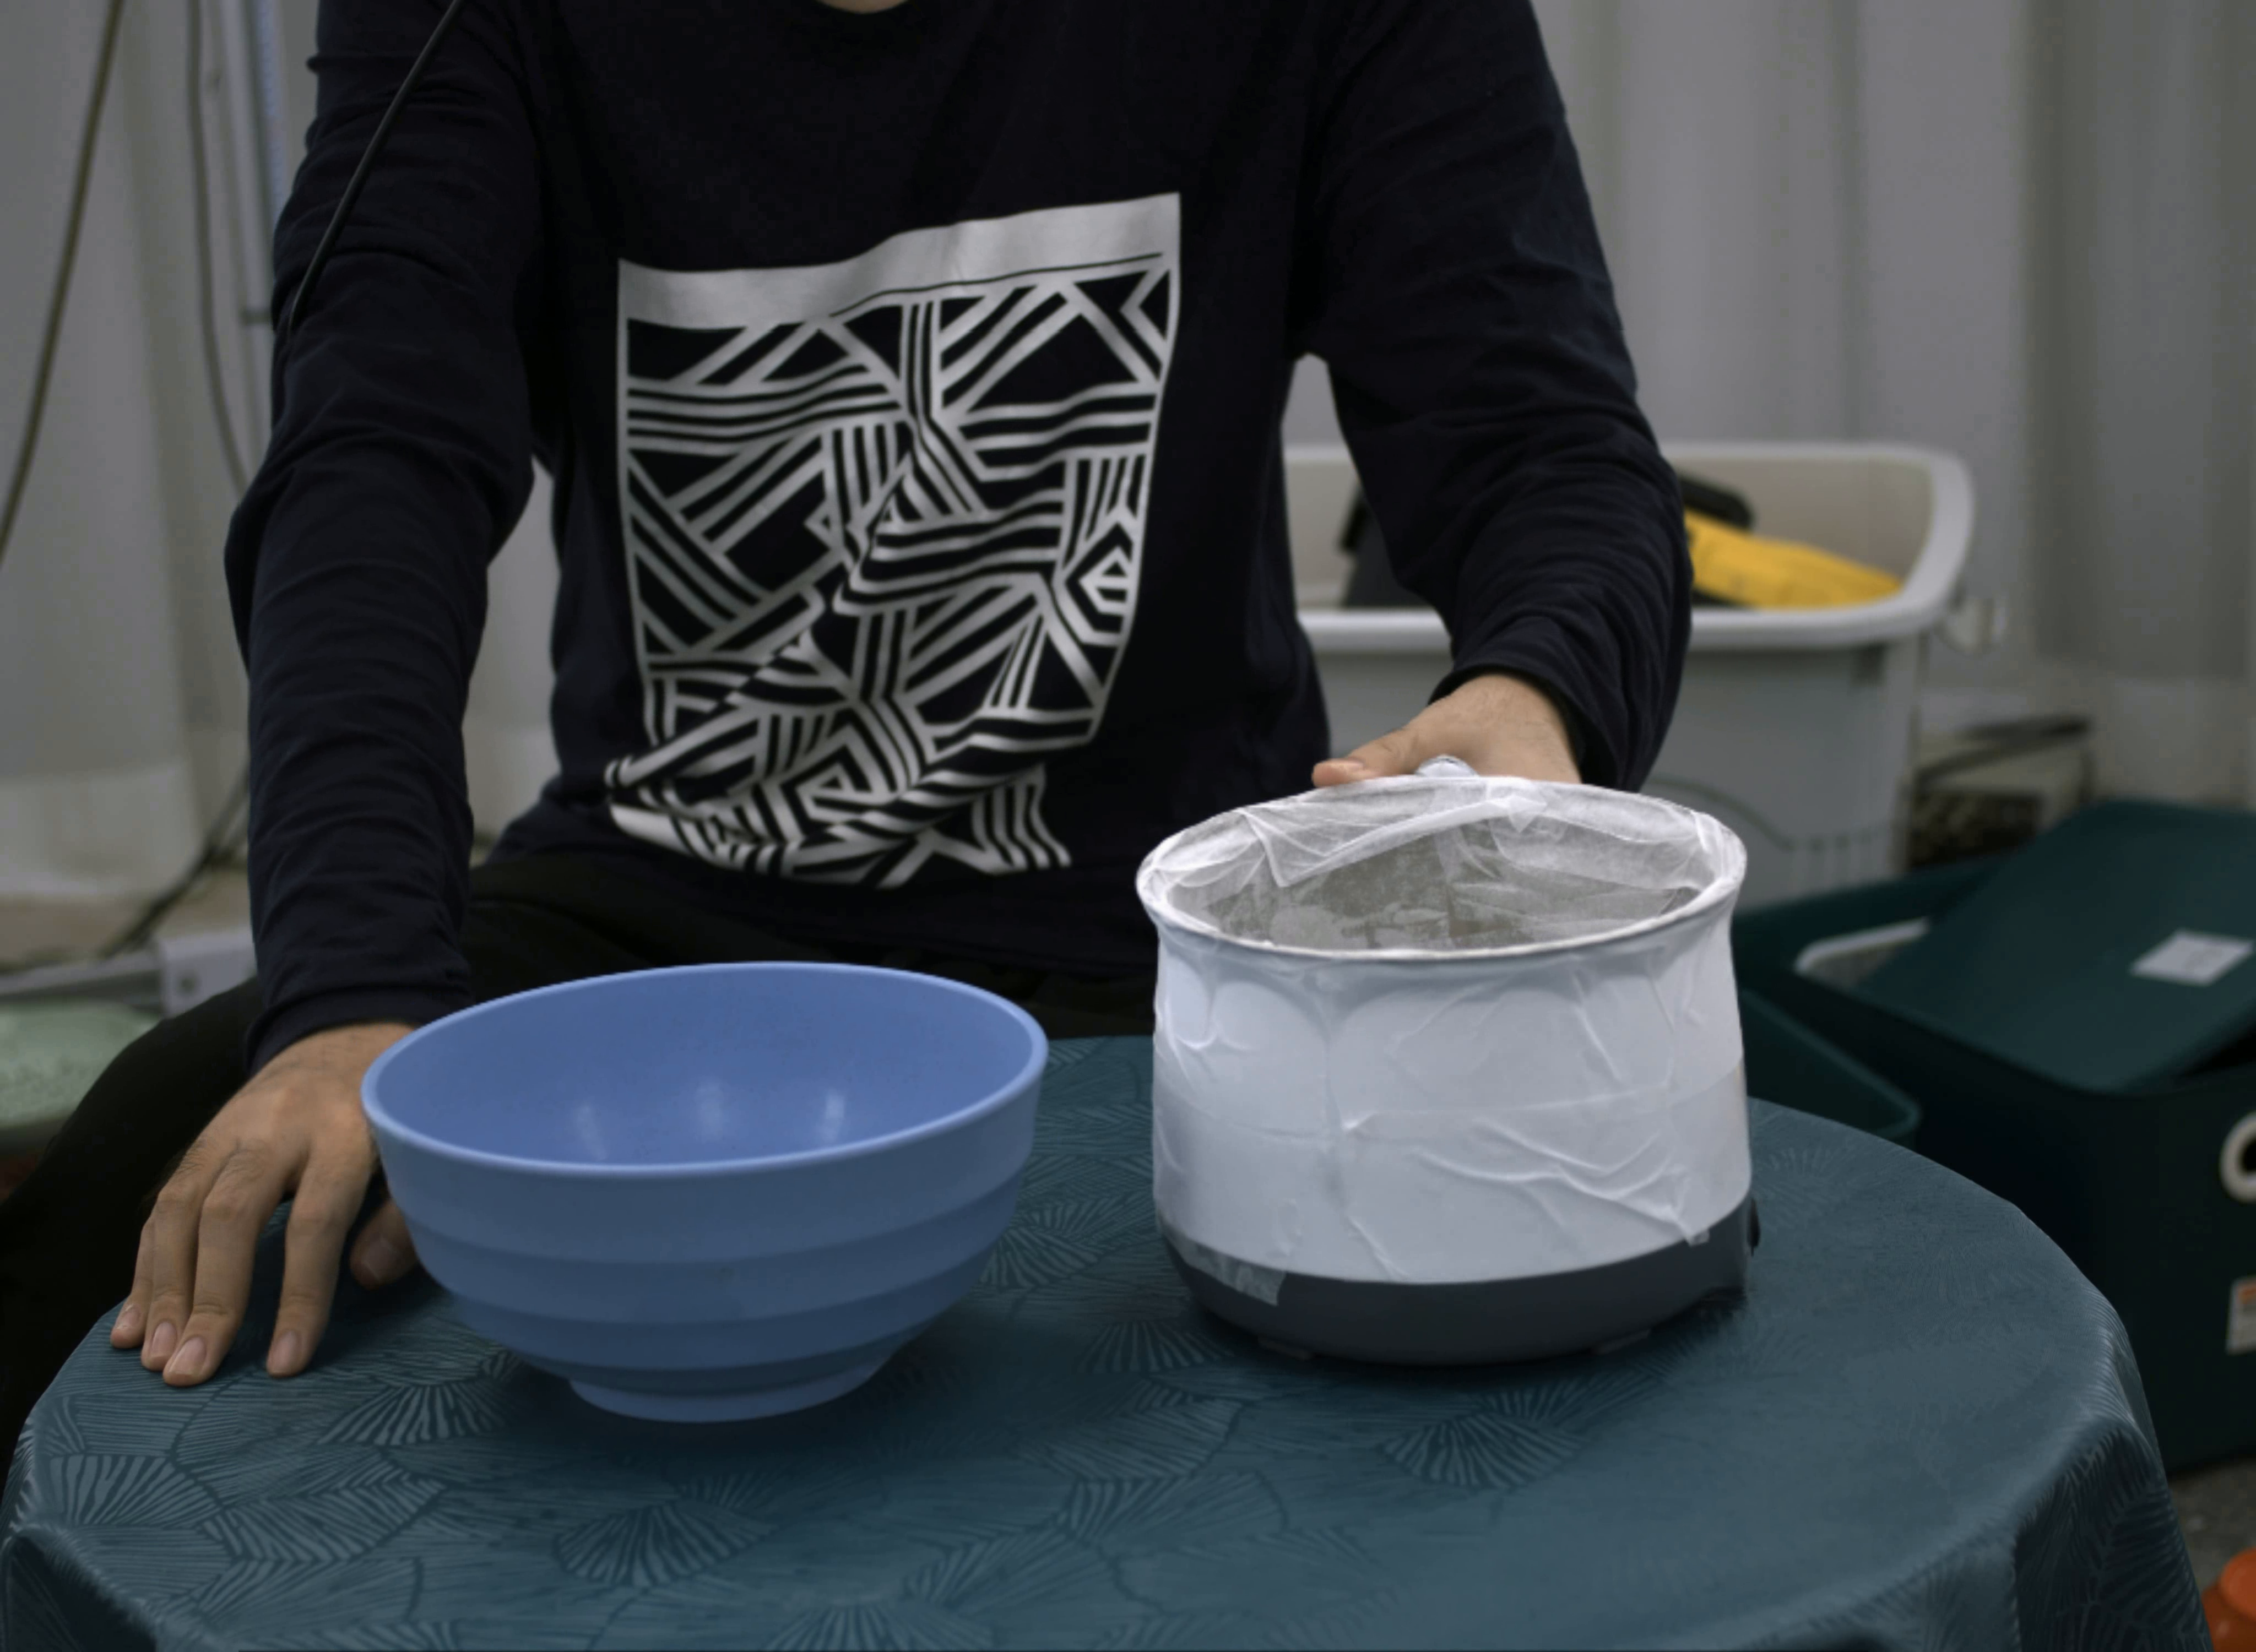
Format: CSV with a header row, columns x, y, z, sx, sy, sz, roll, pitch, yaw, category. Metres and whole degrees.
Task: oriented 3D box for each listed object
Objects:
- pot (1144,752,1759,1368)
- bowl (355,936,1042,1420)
x,y,z,sx,sy,sz,roll,pitch,yaw,category
0.094,0.063,1.621,0.178,0.136,0.235,0,16,2,pot
-0.118,0.108,1.568,0.196,0.095,0.198,-5,18,1,bowl
